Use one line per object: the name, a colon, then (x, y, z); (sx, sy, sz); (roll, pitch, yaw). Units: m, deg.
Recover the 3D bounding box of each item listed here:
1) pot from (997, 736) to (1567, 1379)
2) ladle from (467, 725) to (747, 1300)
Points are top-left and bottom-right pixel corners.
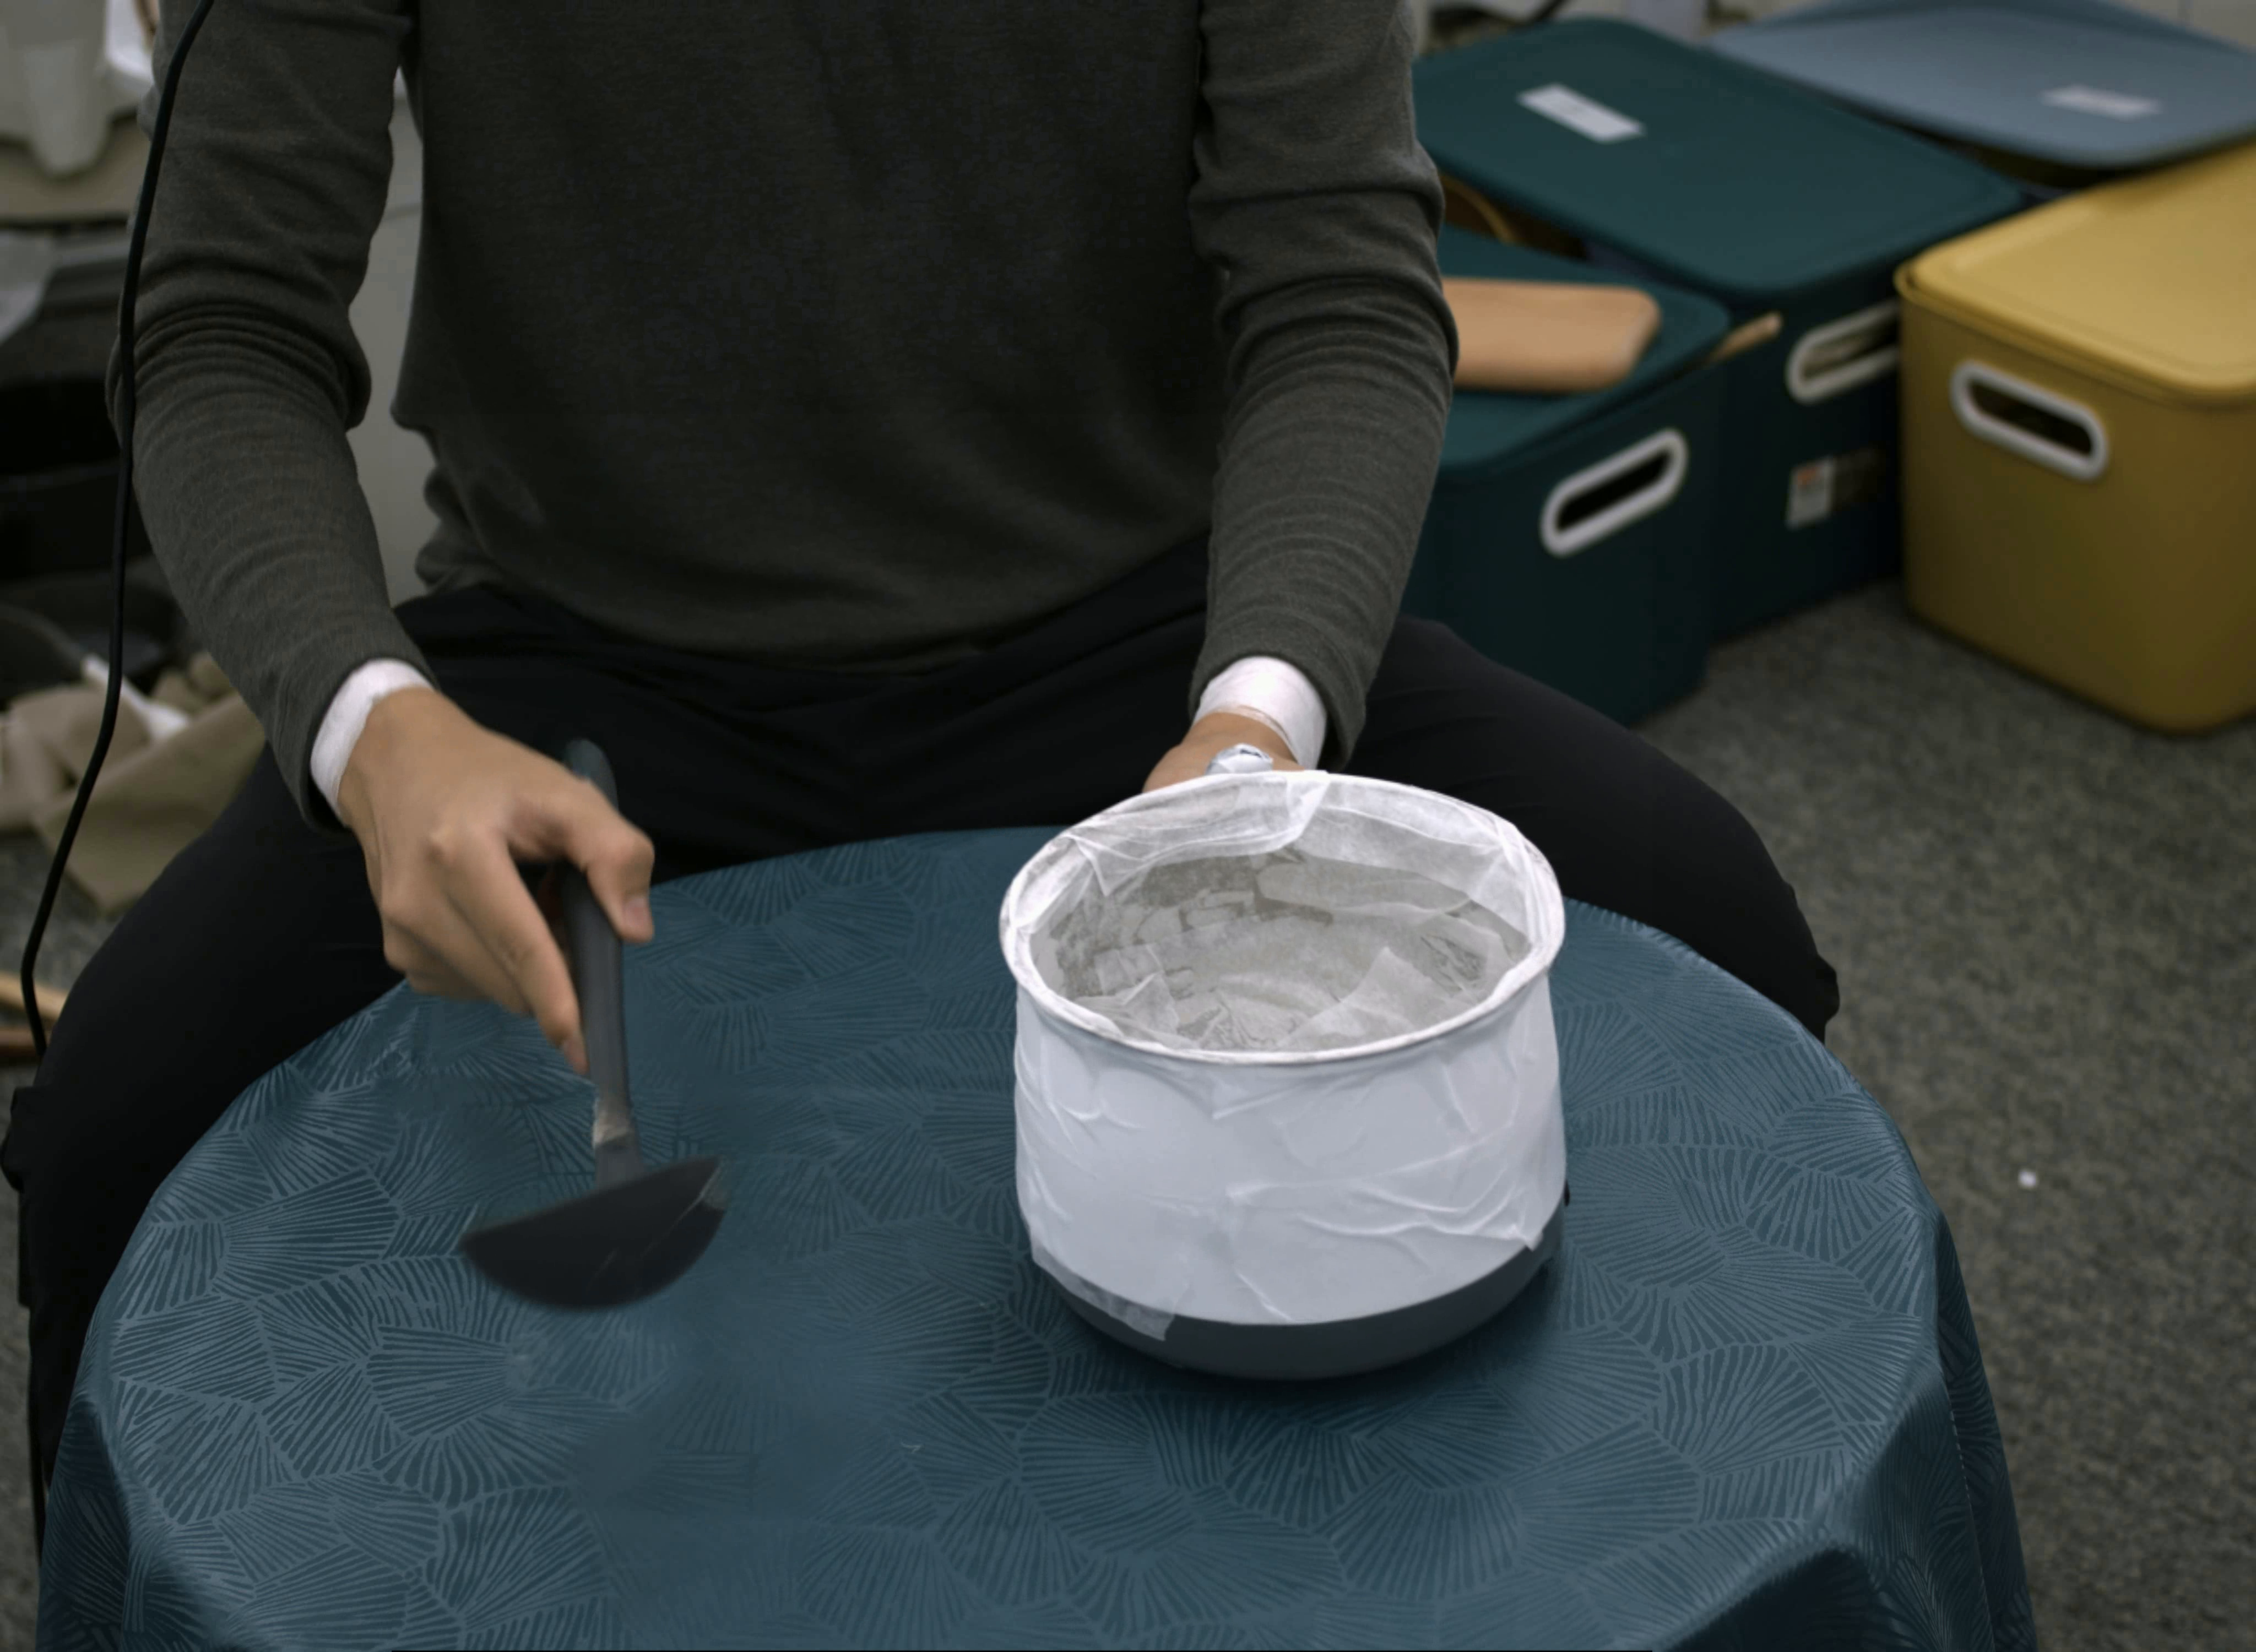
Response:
pot: (0.047, 0.066, 1.805); (0.178, 0.135, 0.237); (-5, 29, -5)
ladle: (-0.172, 0.041, 1.783); (0.086, 0.063, 0.319); (-12, 36, -1)
